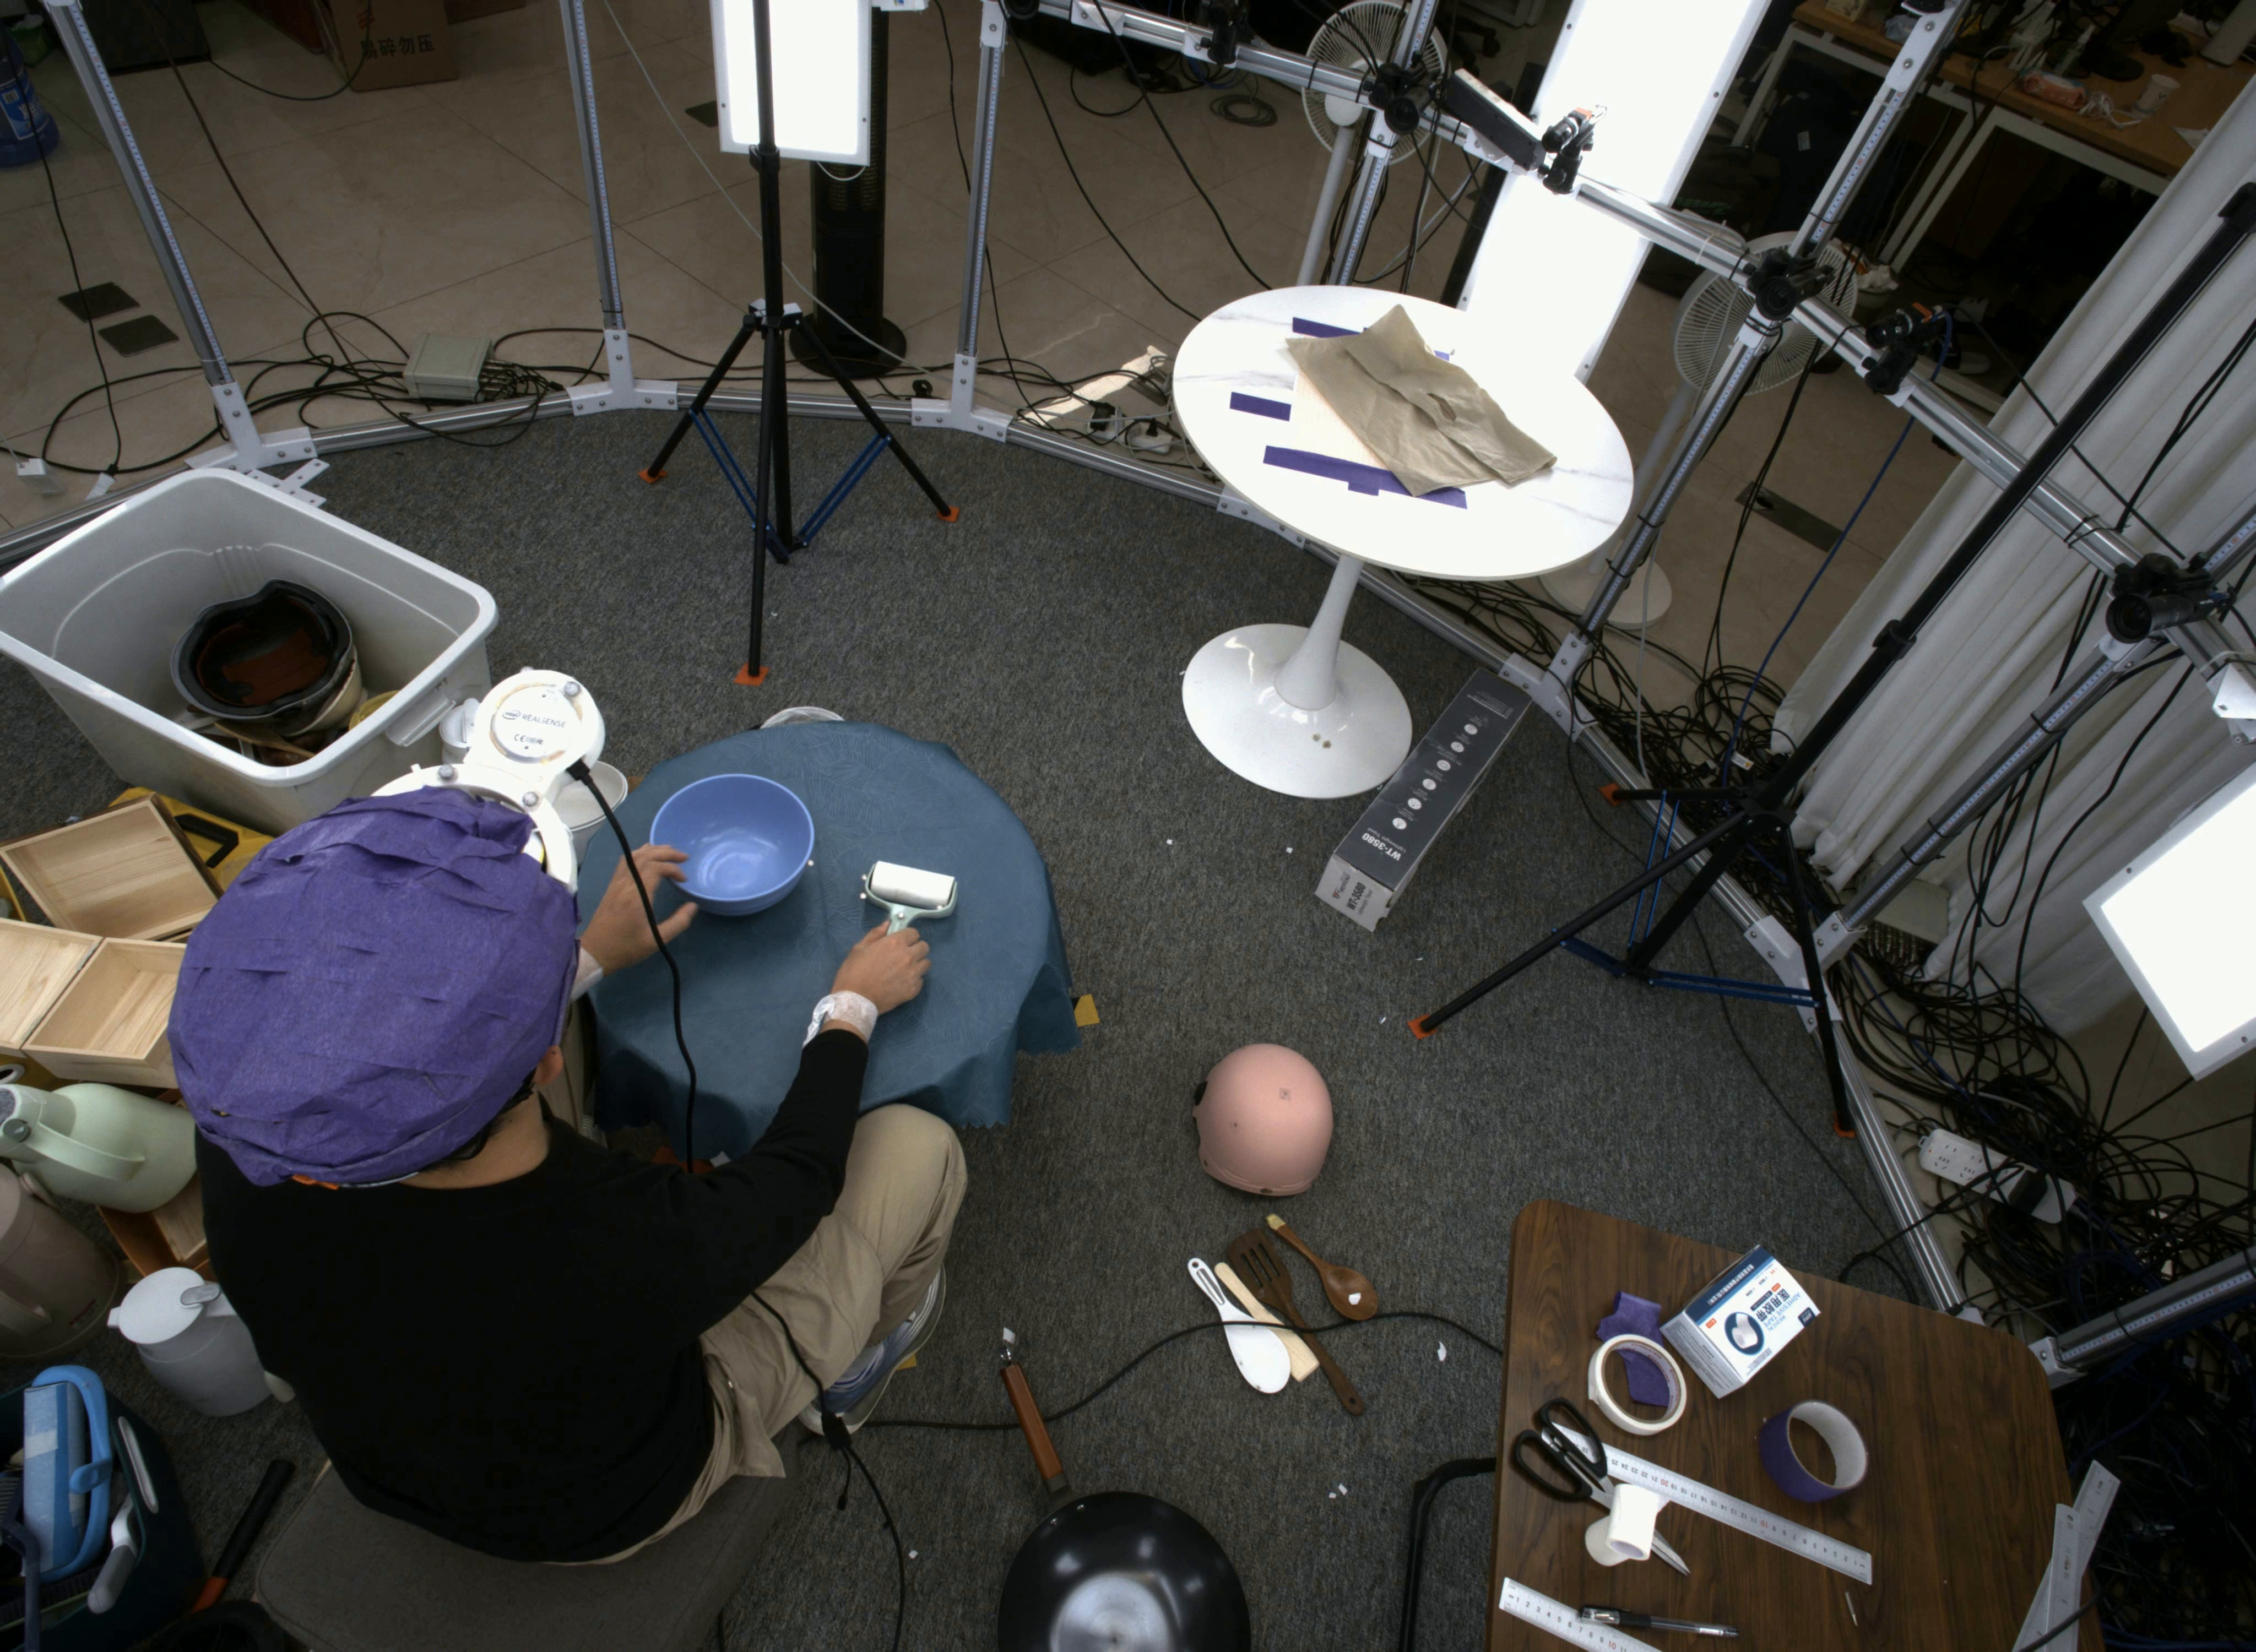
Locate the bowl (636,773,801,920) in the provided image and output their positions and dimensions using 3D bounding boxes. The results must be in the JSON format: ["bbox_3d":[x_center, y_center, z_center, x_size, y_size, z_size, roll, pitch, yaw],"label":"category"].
[{"bbox_3d":[-0.506,0.040,1.605,0.196,0.097,0.193,9,52,-9],"label":"bowl"}]

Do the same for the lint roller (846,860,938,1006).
[{"bbox_3d":[-0.307,0.129,1.619,0.116,0.049,0.194,13,50,-7],"label":"lint roller"}]
